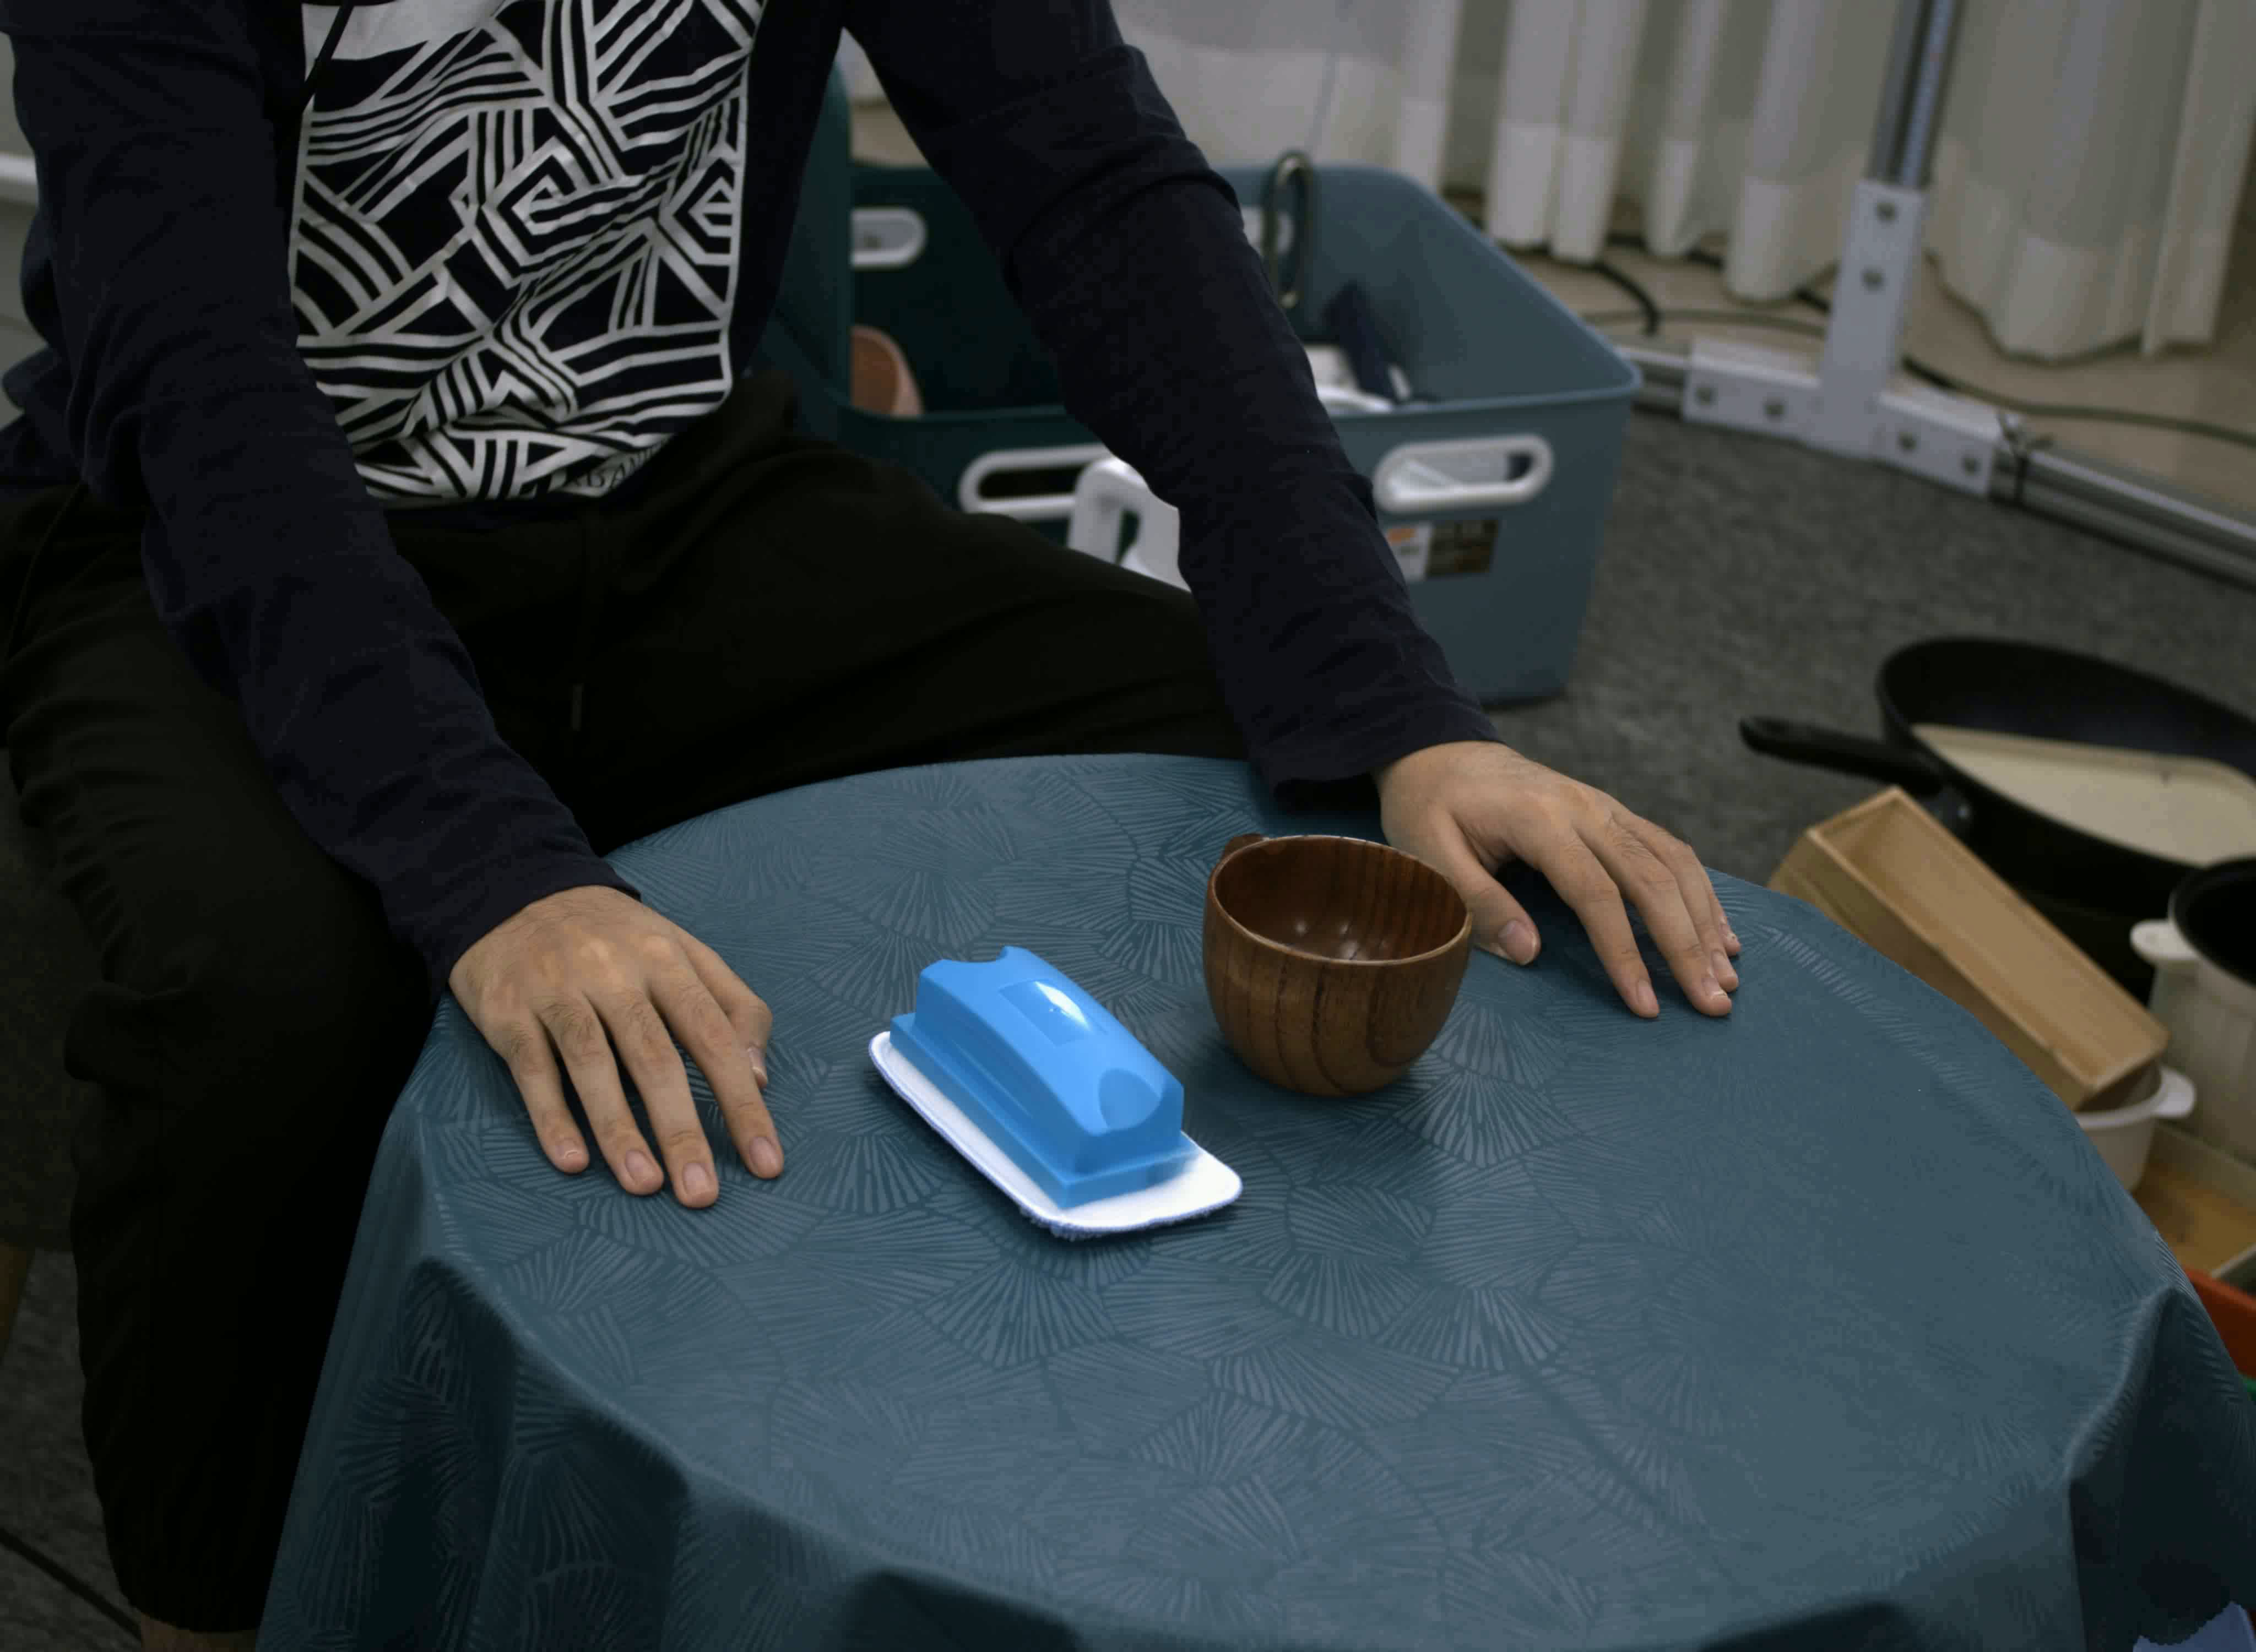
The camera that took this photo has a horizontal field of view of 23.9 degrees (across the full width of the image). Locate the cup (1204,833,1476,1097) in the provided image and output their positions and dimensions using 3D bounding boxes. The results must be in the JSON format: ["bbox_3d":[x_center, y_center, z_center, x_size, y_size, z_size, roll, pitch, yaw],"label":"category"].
[{"bbox_3d":[0.068,0.048,1.899,0.095,0.067,0.120,-15,31,-29],"label":"cup"}]

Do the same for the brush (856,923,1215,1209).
[{"bbox_3d":[-0.029,0.078,1.823,0.083,0.056,0.145,-6,32,-30],"label":"brush"}]
